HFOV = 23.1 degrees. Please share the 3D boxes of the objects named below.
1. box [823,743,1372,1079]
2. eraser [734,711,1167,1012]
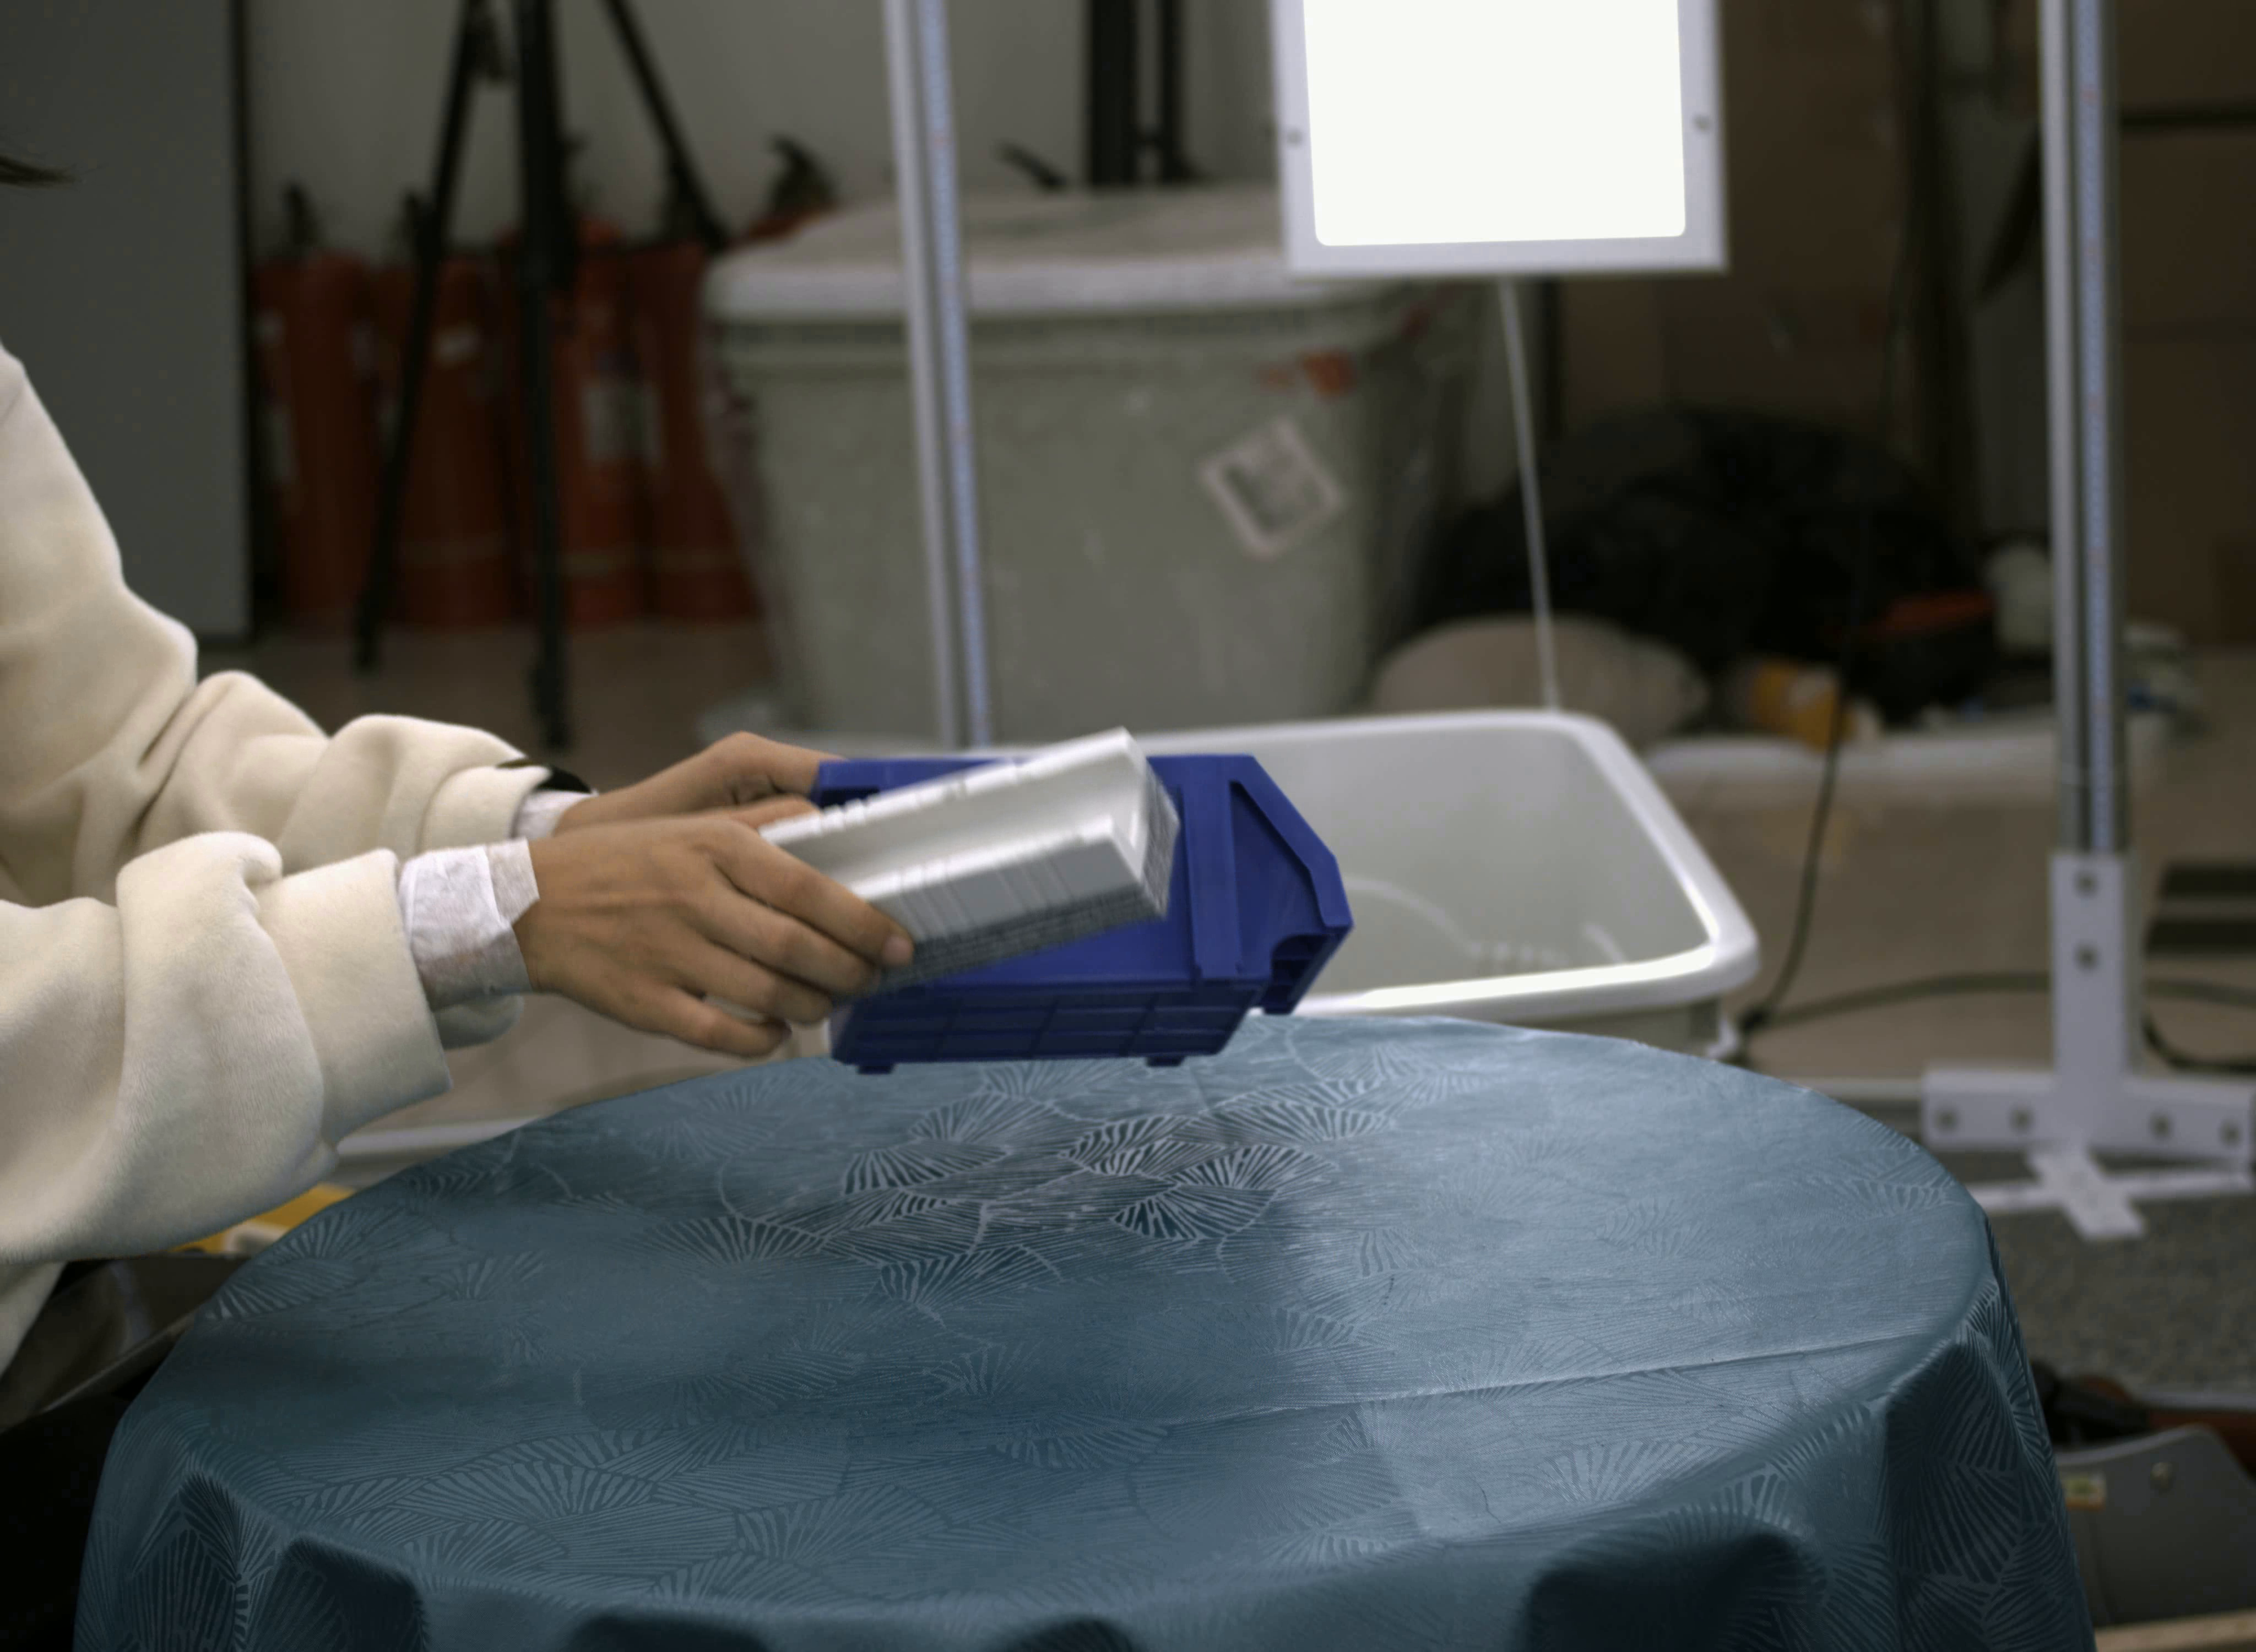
[{"bbox_3d":[-0.014,0.030,1.912,0.178,0.082,0.125,-3,-18,-7],"label":"box"},{"bbox_3d":[-0.056,0.012,1.749,0.136,0.046,0.049,-17,42,22],"label":"eraser"}]
